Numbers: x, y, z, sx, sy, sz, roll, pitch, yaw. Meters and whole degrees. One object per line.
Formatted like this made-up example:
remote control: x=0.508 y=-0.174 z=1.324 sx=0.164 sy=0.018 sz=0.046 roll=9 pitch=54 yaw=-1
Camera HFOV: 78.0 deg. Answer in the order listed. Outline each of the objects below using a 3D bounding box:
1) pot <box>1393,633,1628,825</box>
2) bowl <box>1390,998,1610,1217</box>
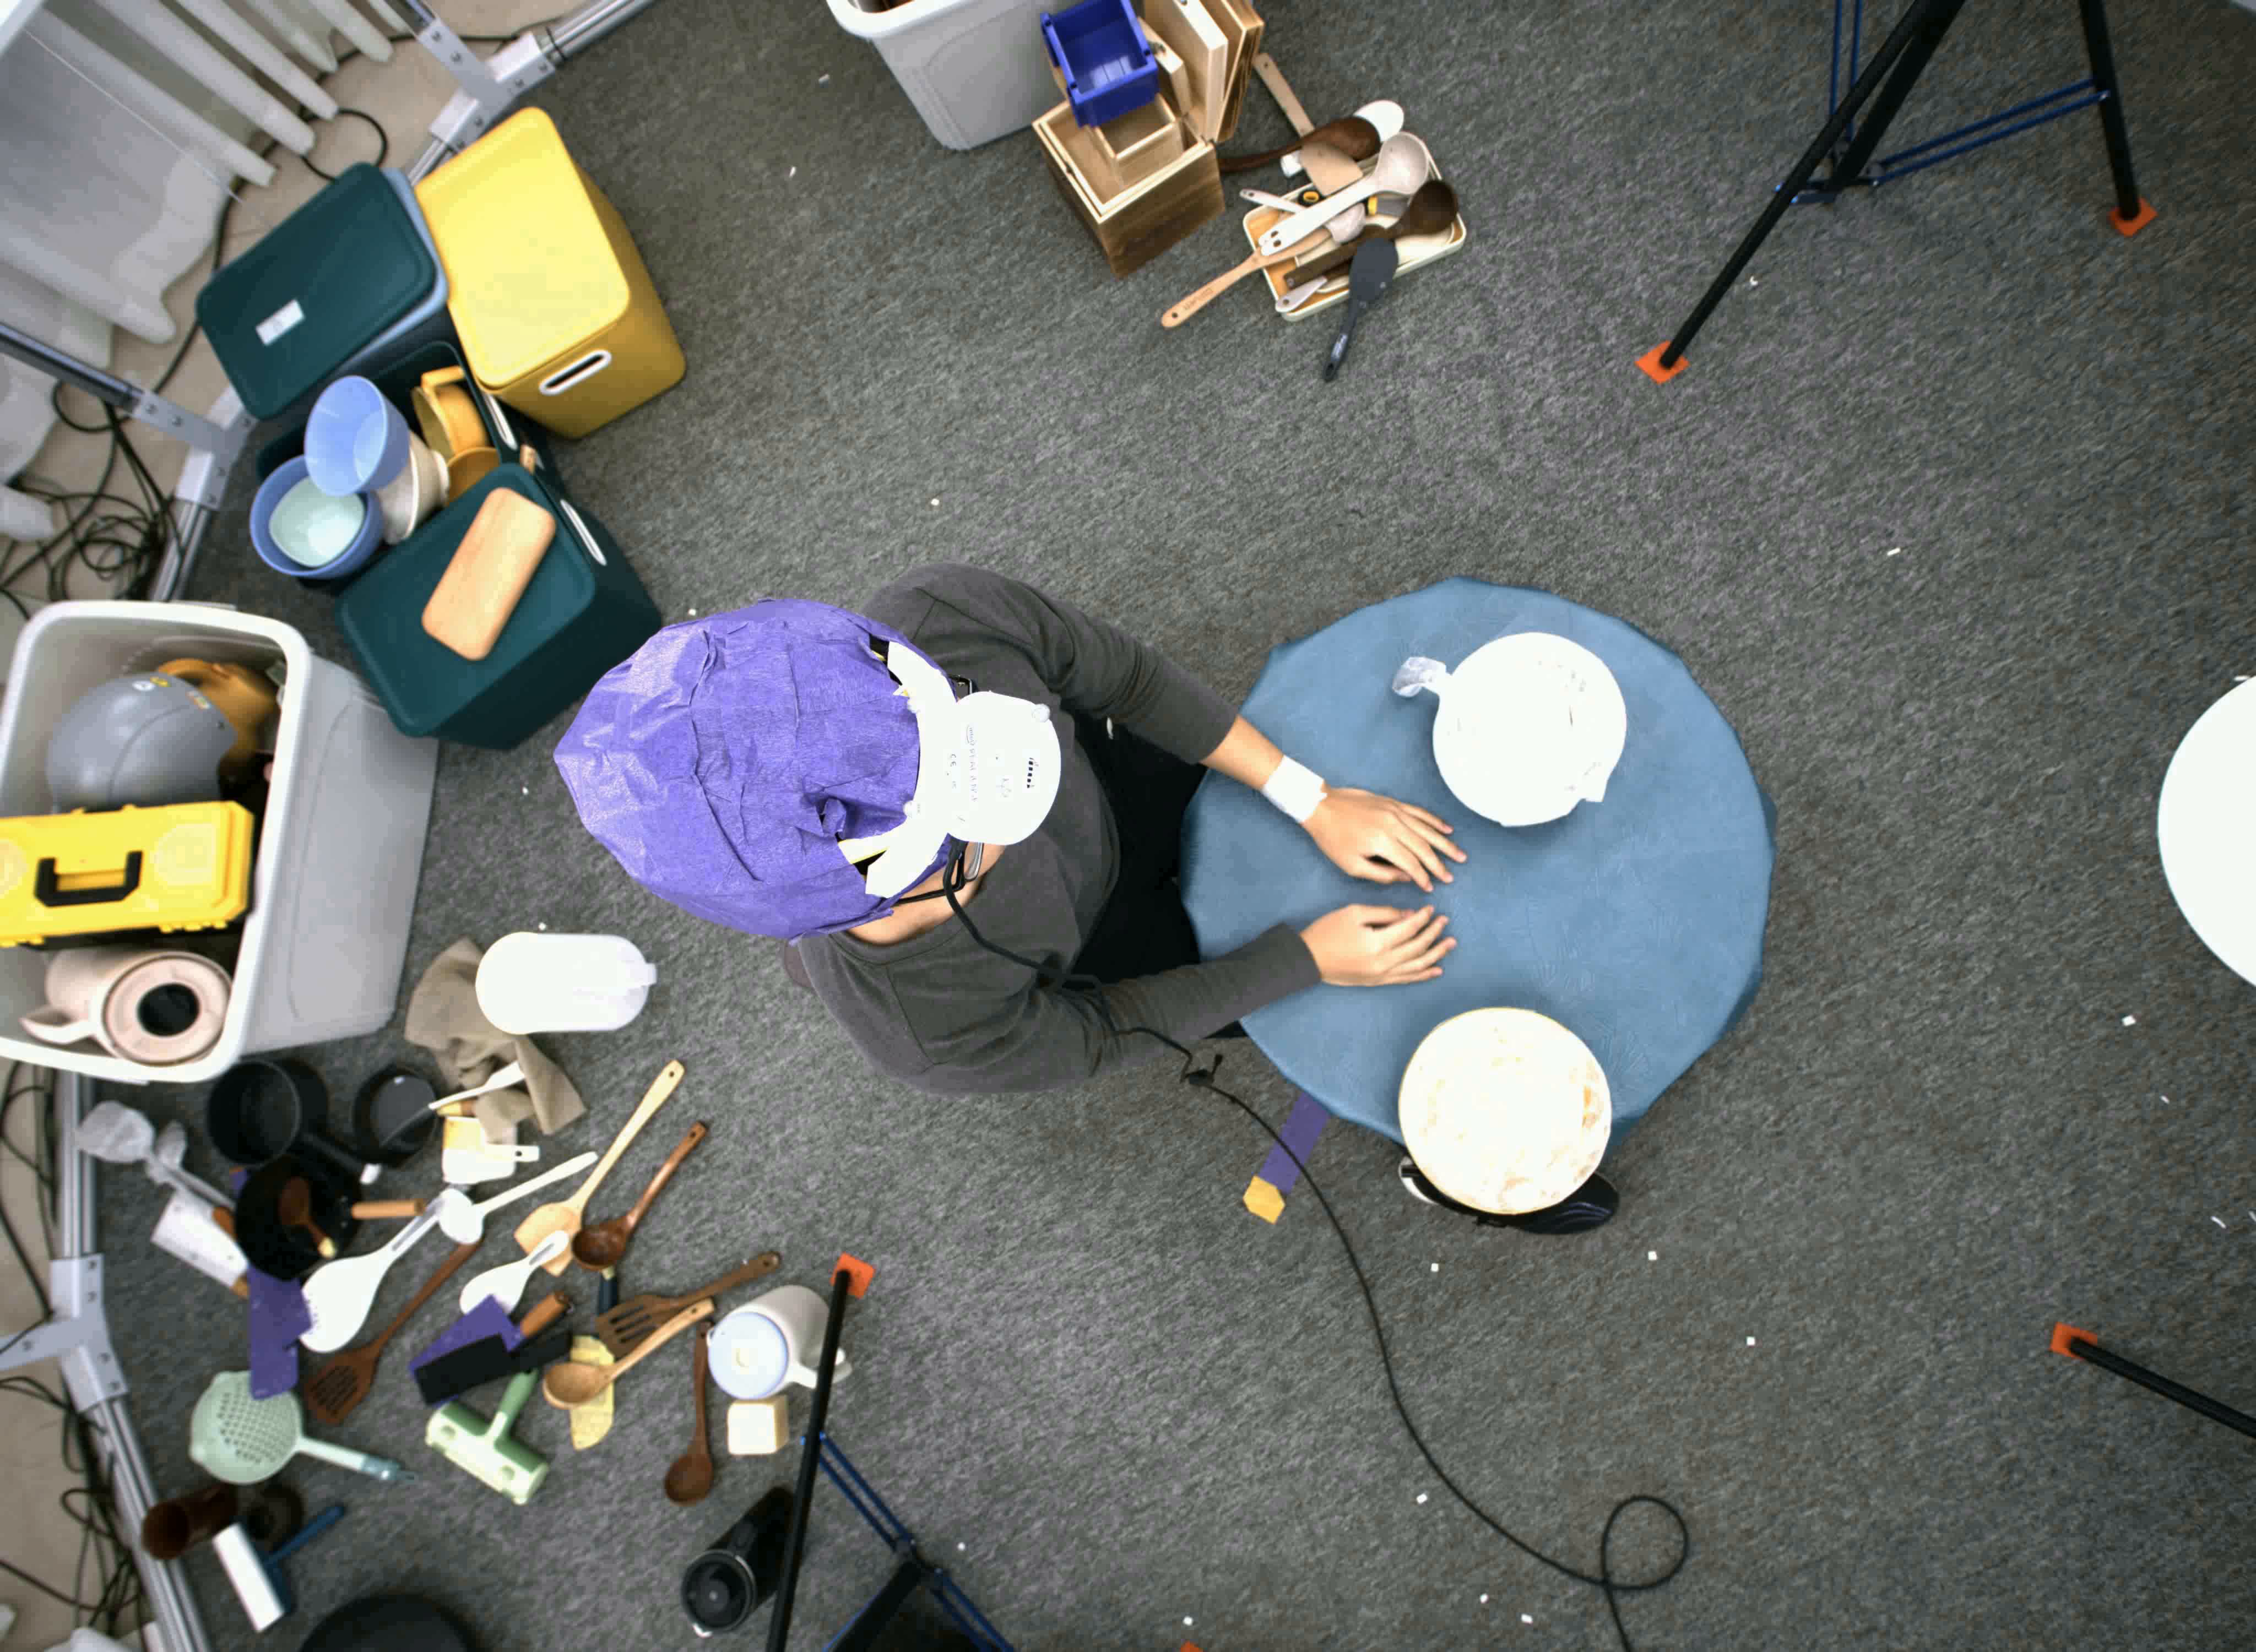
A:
pot: x=0.375 y=-0.108 z=1.381 sx=0.233 sy=0.137 sz=0.179 roll=29 pitch=91 yaw=11
bowl: x=0.369 y=0.275 z=1.383 sx=0.215 sy=0.094 sz=0.214 roll=-1 pitch=87 yaw=12
